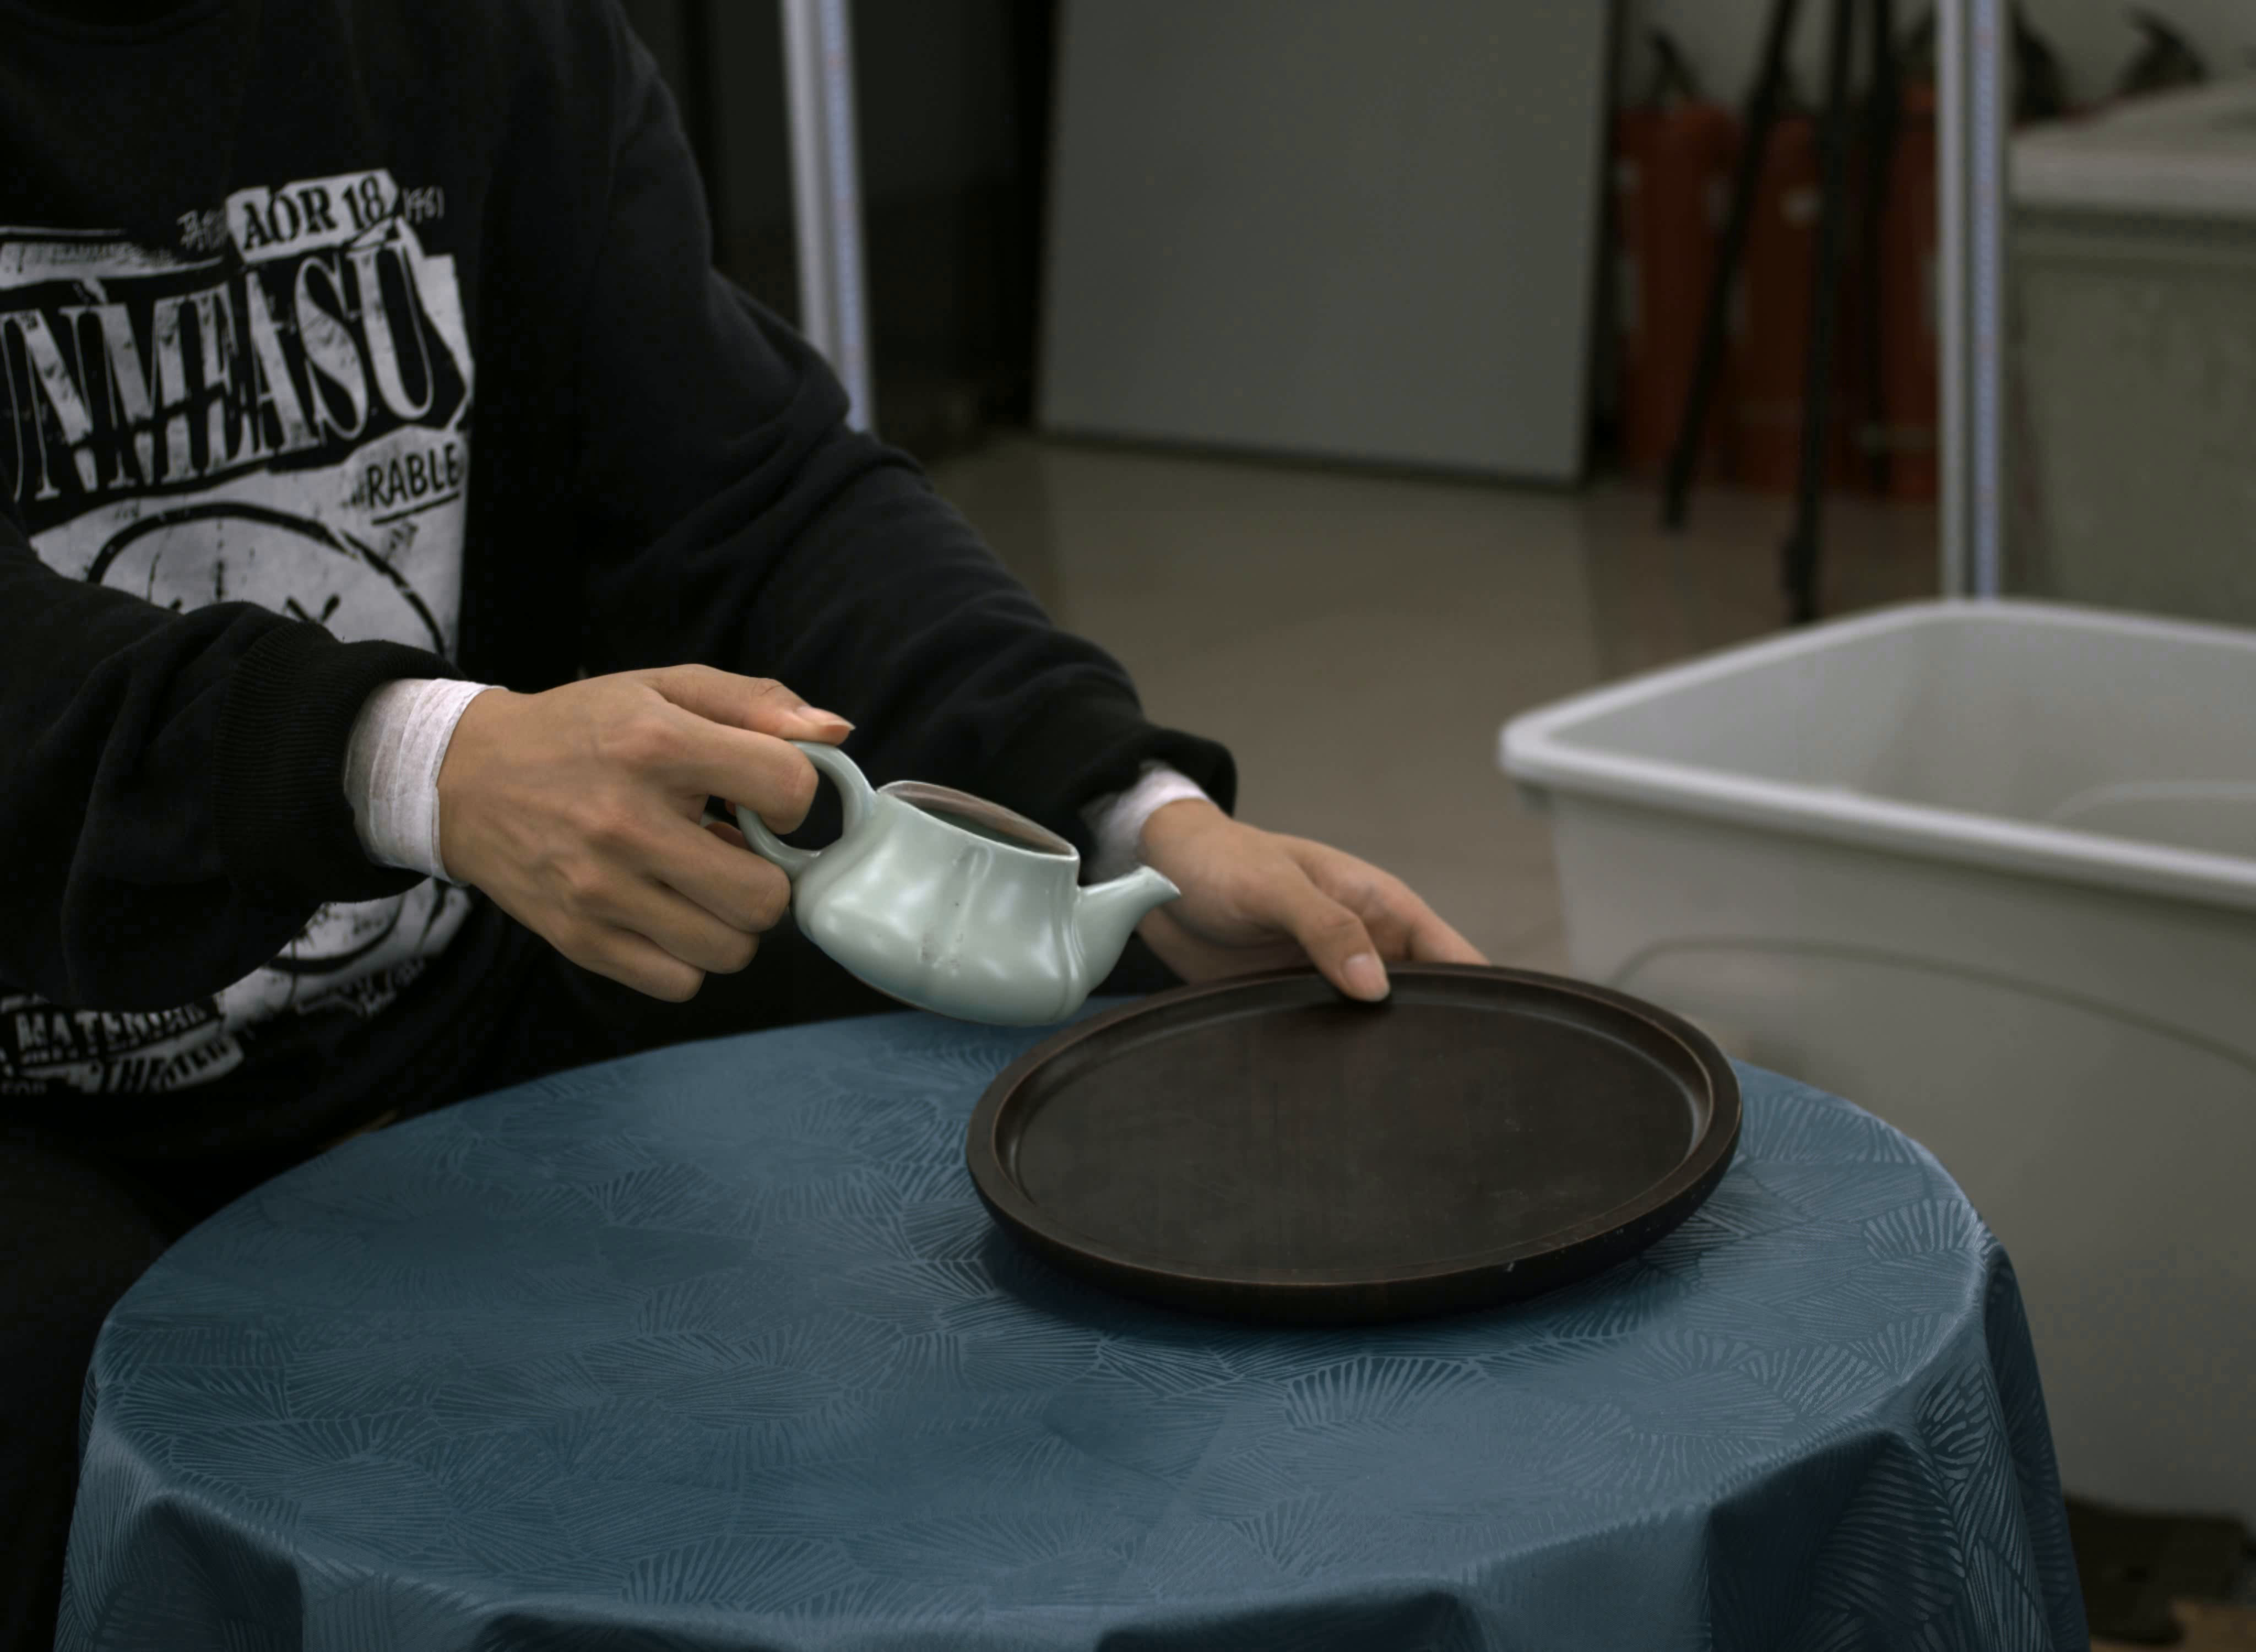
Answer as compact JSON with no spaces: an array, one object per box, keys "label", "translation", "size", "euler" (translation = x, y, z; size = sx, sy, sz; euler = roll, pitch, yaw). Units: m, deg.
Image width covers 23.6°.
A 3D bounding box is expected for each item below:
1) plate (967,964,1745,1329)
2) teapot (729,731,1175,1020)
[{"label":"plate","translation":[0.073,0.100,1.731],"size":[0.251,0.029,0.255],"euler":[-5,22,1]},{"label":"teapot","translation":[-0.058,0.018,1.619],"size":[0.135,0.062,0.096],"euler":[20,11,-6]}]
